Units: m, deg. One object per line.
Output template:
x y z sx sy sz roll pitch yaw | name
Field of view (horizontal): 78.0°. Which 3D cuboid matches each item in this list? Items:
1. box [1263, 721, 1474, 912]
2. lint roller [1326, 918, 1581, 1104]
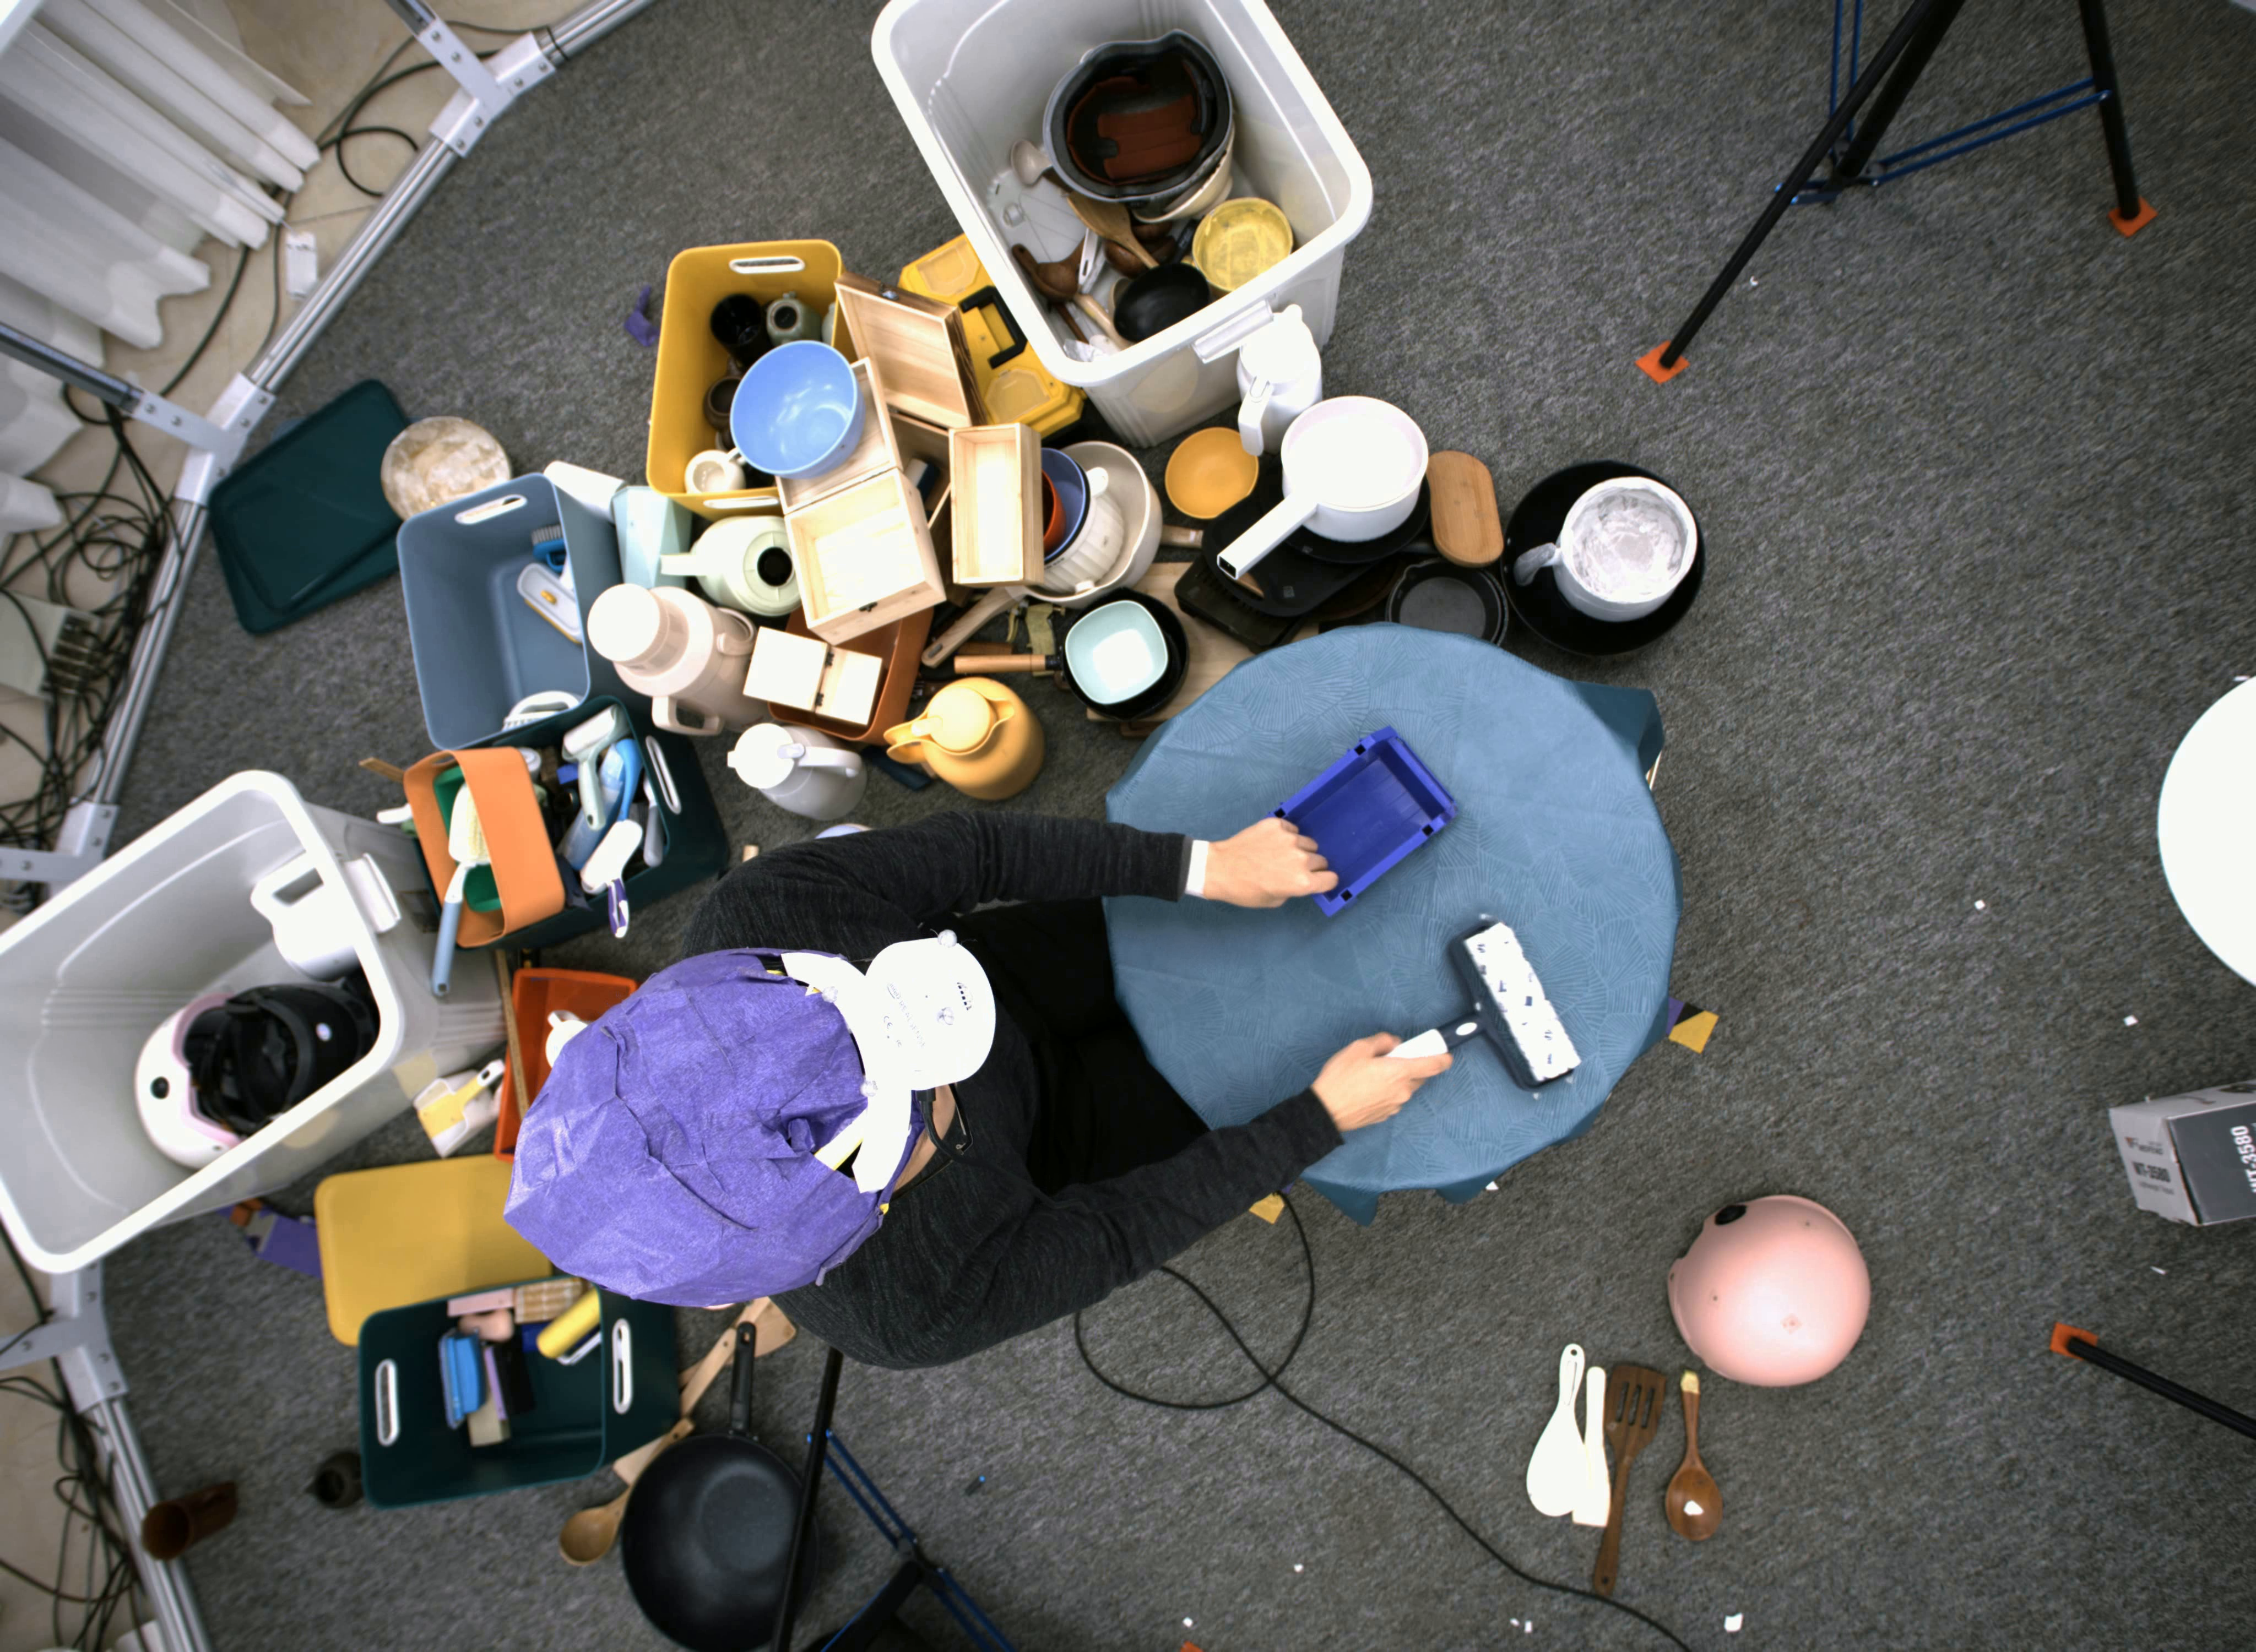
0.249 -0.013 1.426 0.180 0.082 0.123 -39 79 8 | box
0.316 0.221 1.405 0.247 0.050 0.175 -26 84 0 | lint roller
